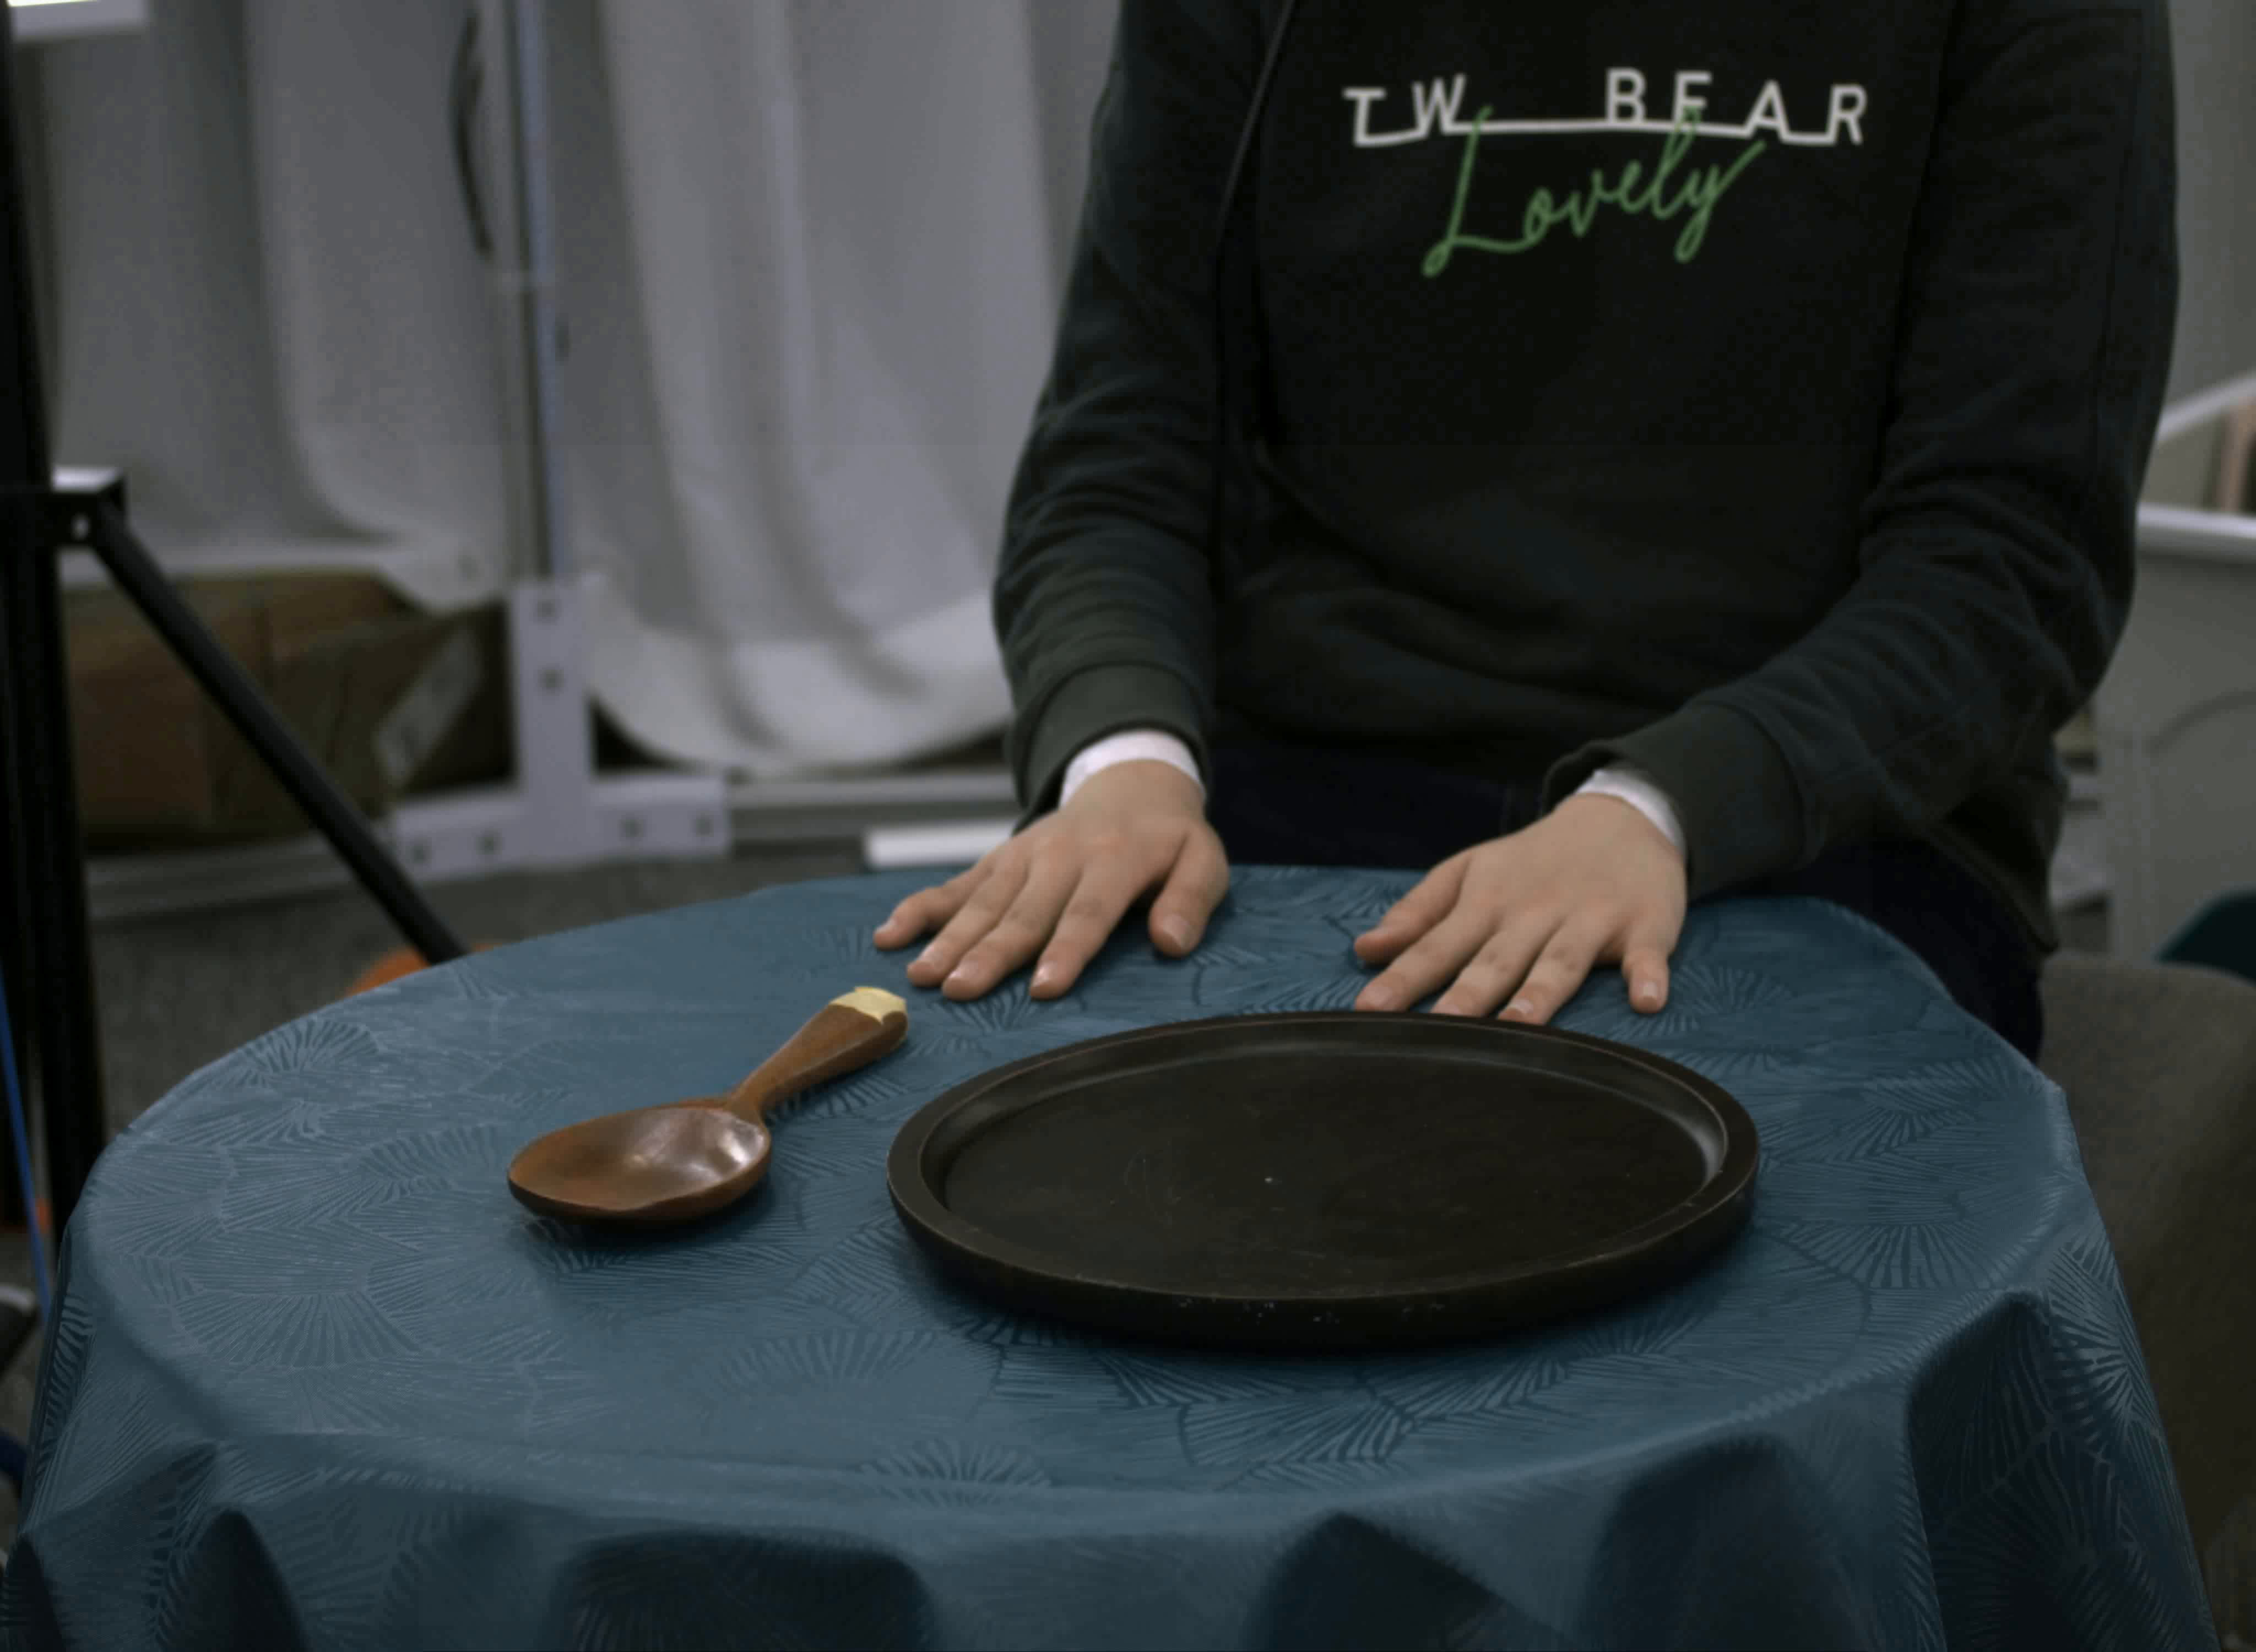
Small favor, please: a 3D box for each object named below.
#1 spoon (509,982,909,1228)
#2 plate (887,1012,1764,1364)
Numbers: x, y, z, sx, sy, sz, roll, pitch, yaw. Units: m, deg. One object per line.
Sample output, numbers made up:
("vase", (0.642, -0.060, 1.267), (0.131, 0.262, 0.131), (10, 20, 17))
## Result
("spoon", (-0.118, 0.086, 1.623), (0.076, 0.017, 0.213), (4, 17, 22))
("plate", (0.057, 0.102, 1.529), (0.253, 0.029, 0.256), (-2, 17, -1))
